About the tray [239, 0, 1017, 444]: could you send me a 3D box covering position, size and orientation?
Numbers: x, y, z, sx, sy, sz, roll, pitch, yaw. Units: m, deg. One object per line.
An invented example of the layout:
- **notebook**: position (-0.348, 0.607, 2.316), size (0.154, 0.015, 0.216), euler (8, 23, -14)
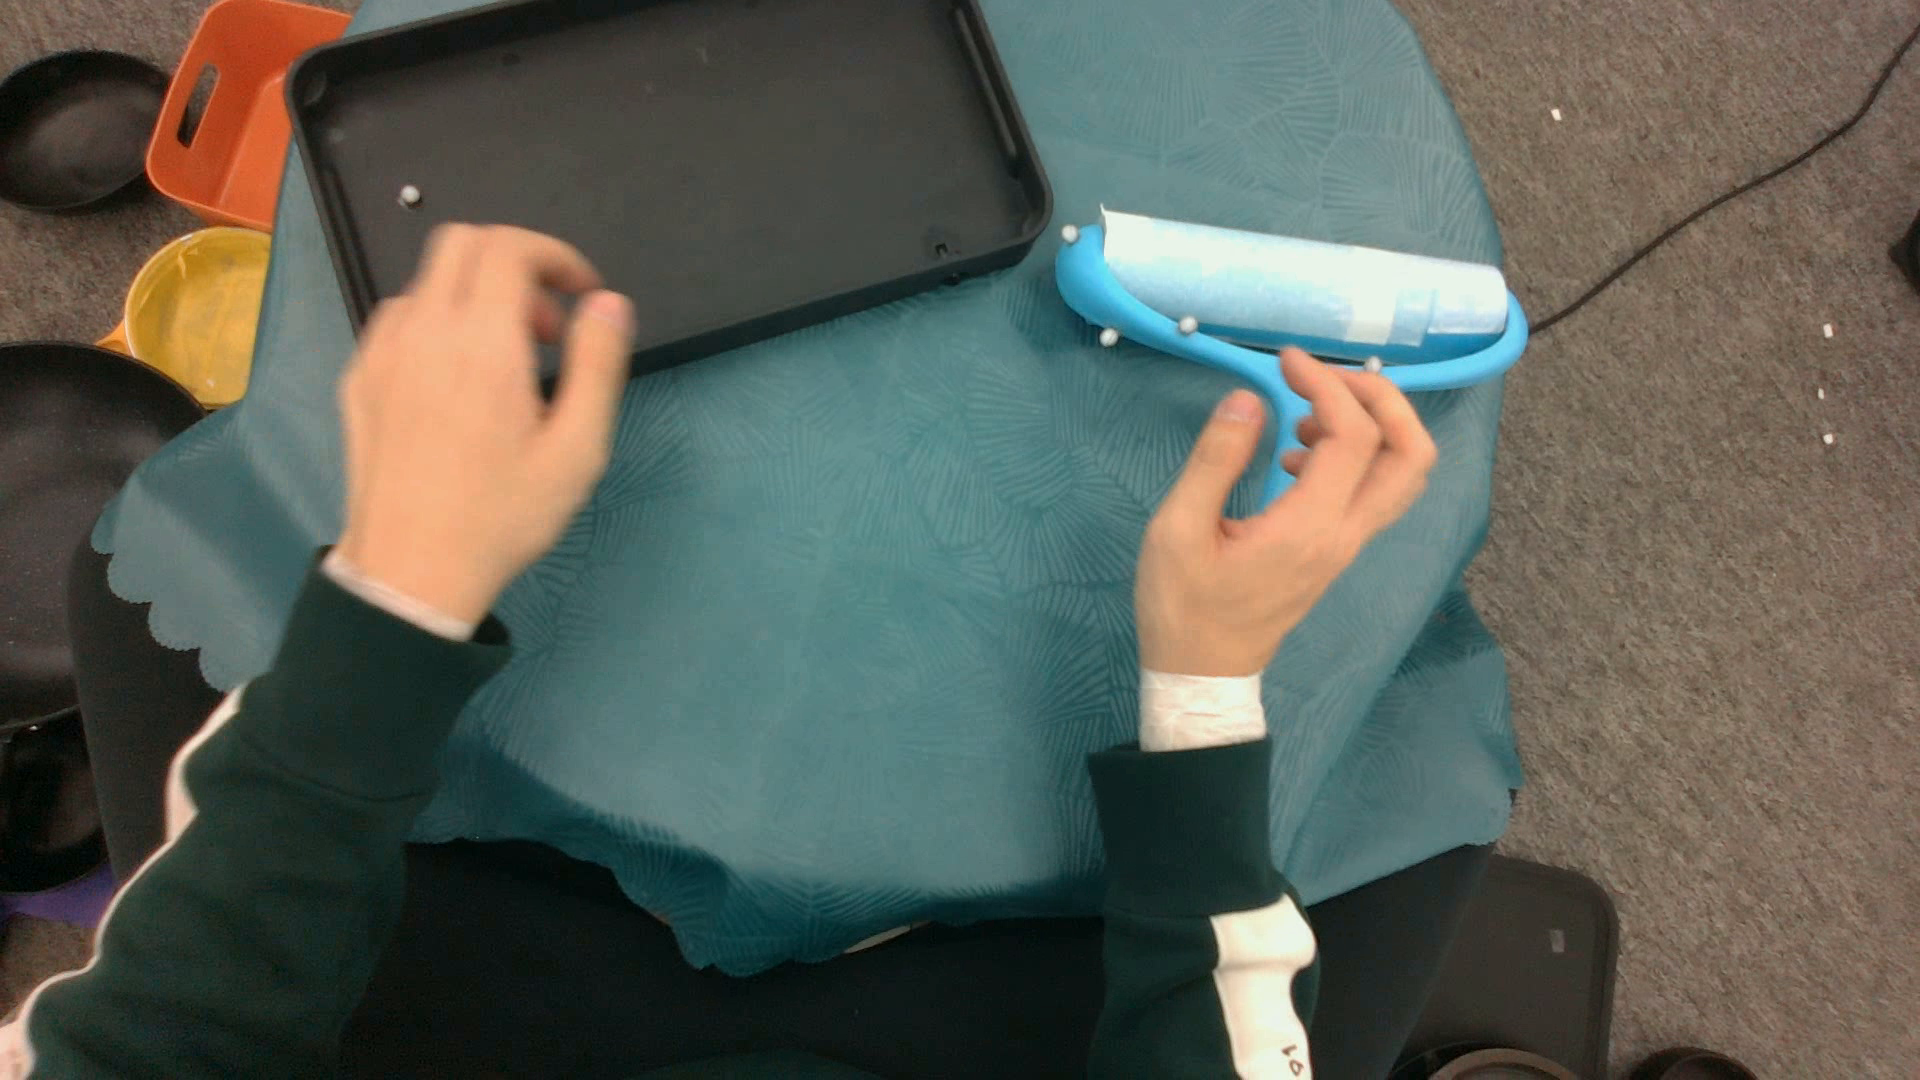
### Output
- **tray**: position (-0.148, -0.177, 0.646), size (0.318, 0.037, 0.184), euler (-22, 82, -13)

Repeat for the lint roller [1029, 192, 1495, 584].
- **lint roller**: position (0.145, -0.073, 0.651), size (0.229, 0.068, 0.180), euler (3, 76, -9)
